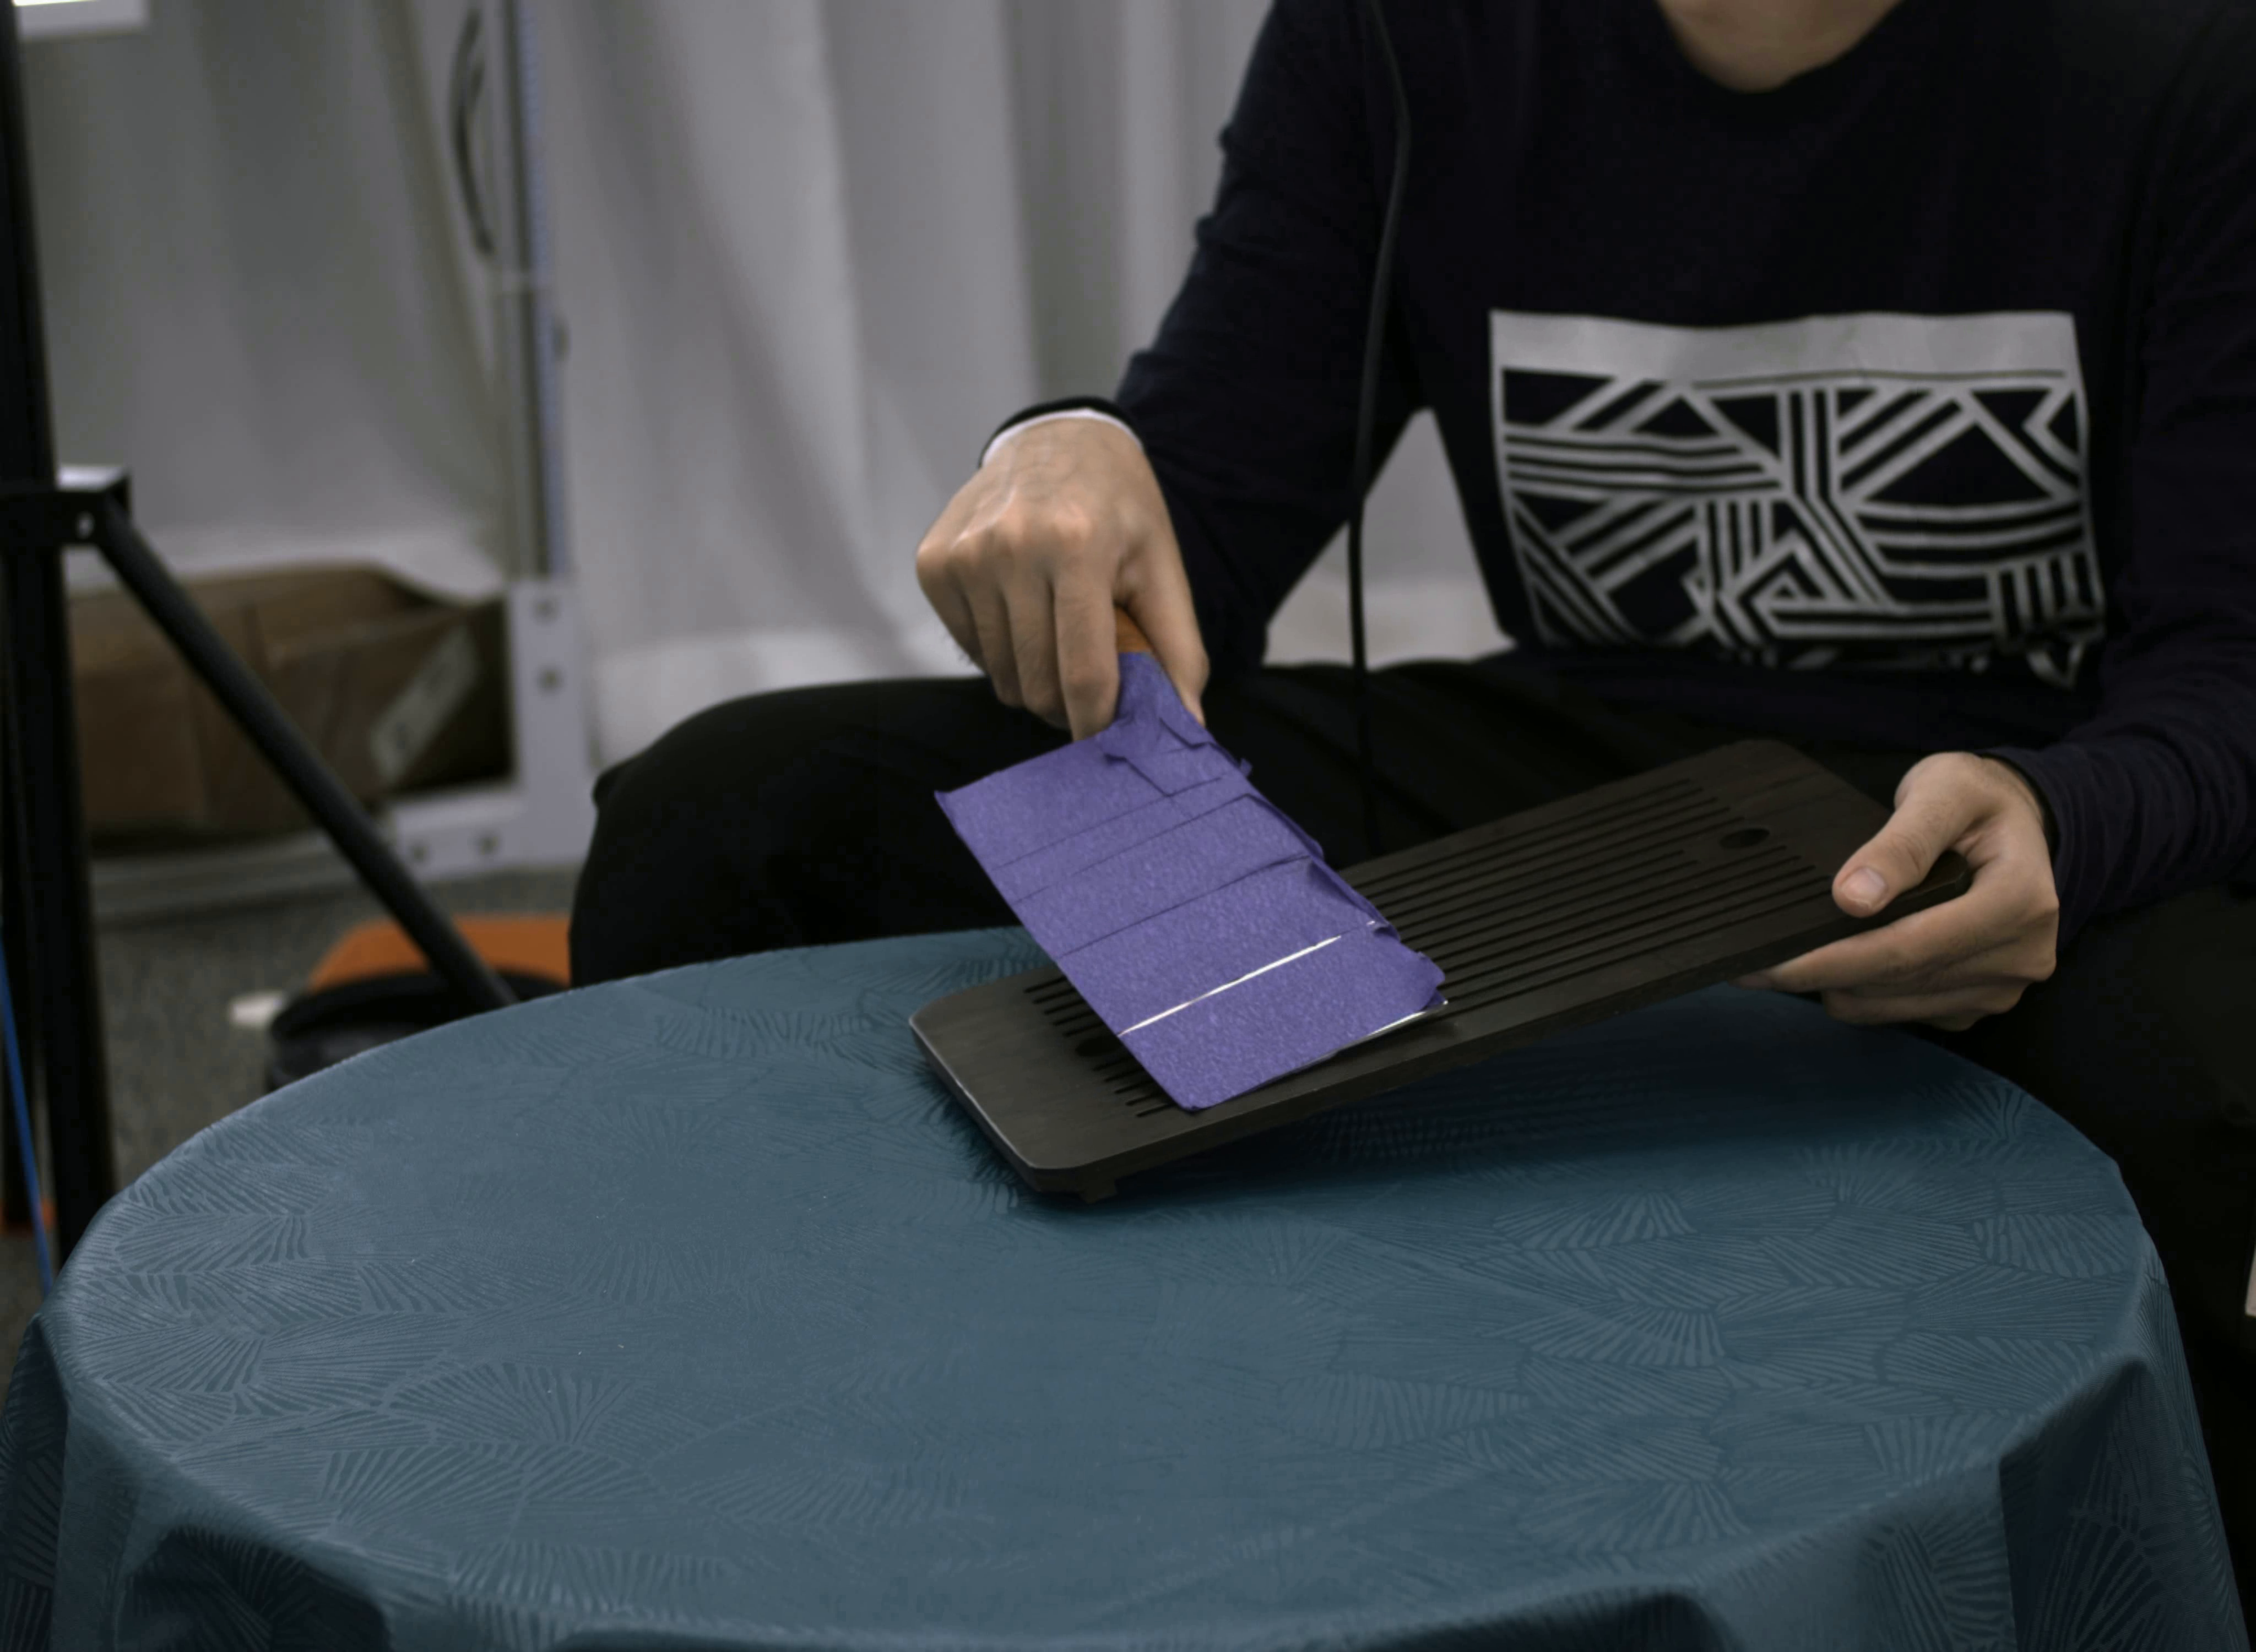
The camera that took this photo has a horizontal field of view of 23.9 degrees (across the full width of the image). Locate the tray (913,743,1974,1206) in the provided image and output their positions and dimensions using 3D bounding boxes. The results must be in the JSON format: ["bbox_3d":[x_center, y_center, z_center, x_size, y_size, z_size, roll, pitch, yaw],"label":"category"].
[{"bbox_3d":[0.095,0.044,1.641,0.302,0.018,0.172,-17,19,-10],"label":"tray"}]

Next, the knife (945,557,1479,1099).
[{"bbox_3d":[-0.002,-0.004,1.692,0.102,0.032,0.322,-22,31,-14],"label":"knife"}]
